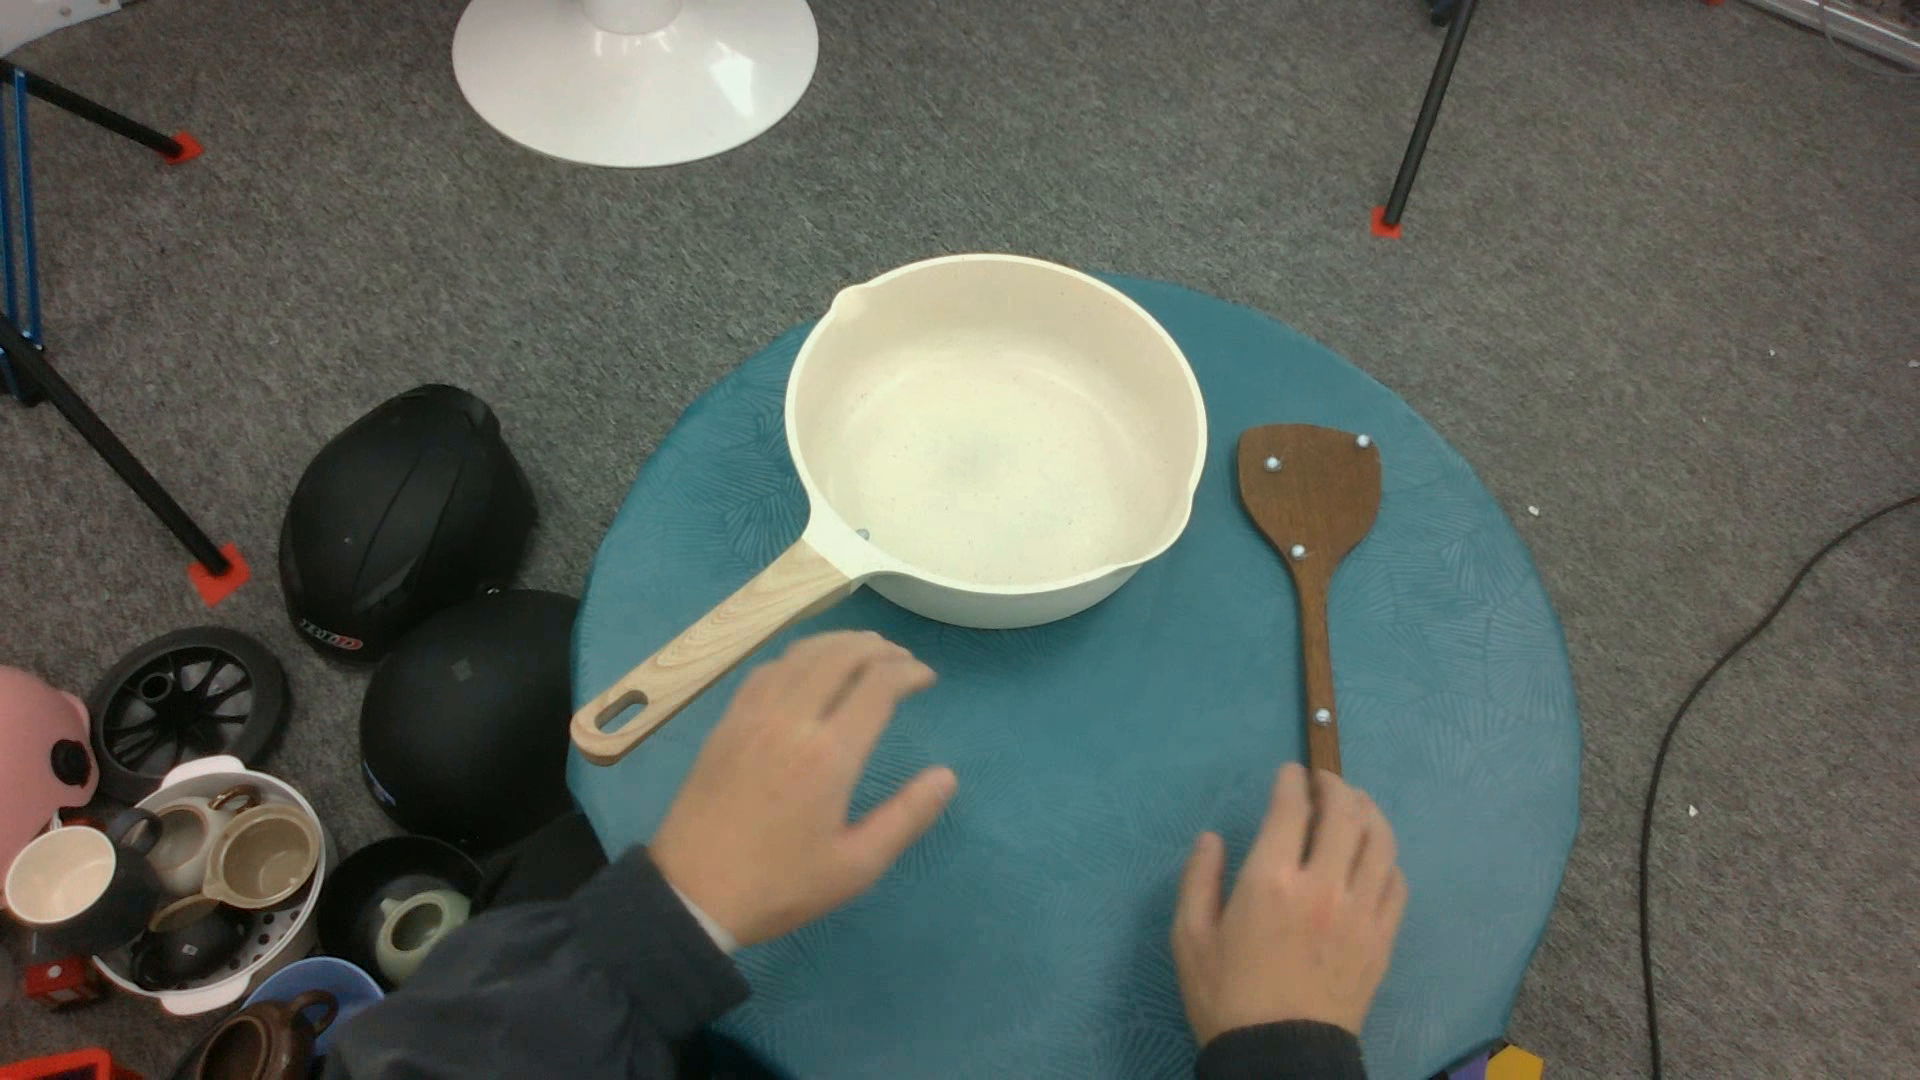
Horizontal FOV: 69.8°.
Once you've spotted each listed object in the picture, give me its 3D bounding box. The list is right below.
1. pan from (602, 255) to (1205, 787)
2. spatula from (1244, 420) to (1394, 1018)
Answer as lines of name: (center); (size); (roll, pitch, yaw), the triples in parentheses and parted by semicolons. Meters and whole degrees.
pan: (-0.038, -0.002, 0.814); (0.263, 0.101, 0.436); (37, 63, 17)
spatula: (0.225, 0.085, 0.822); (0.096, 0.016, 0.387); (4, 58, 0)
